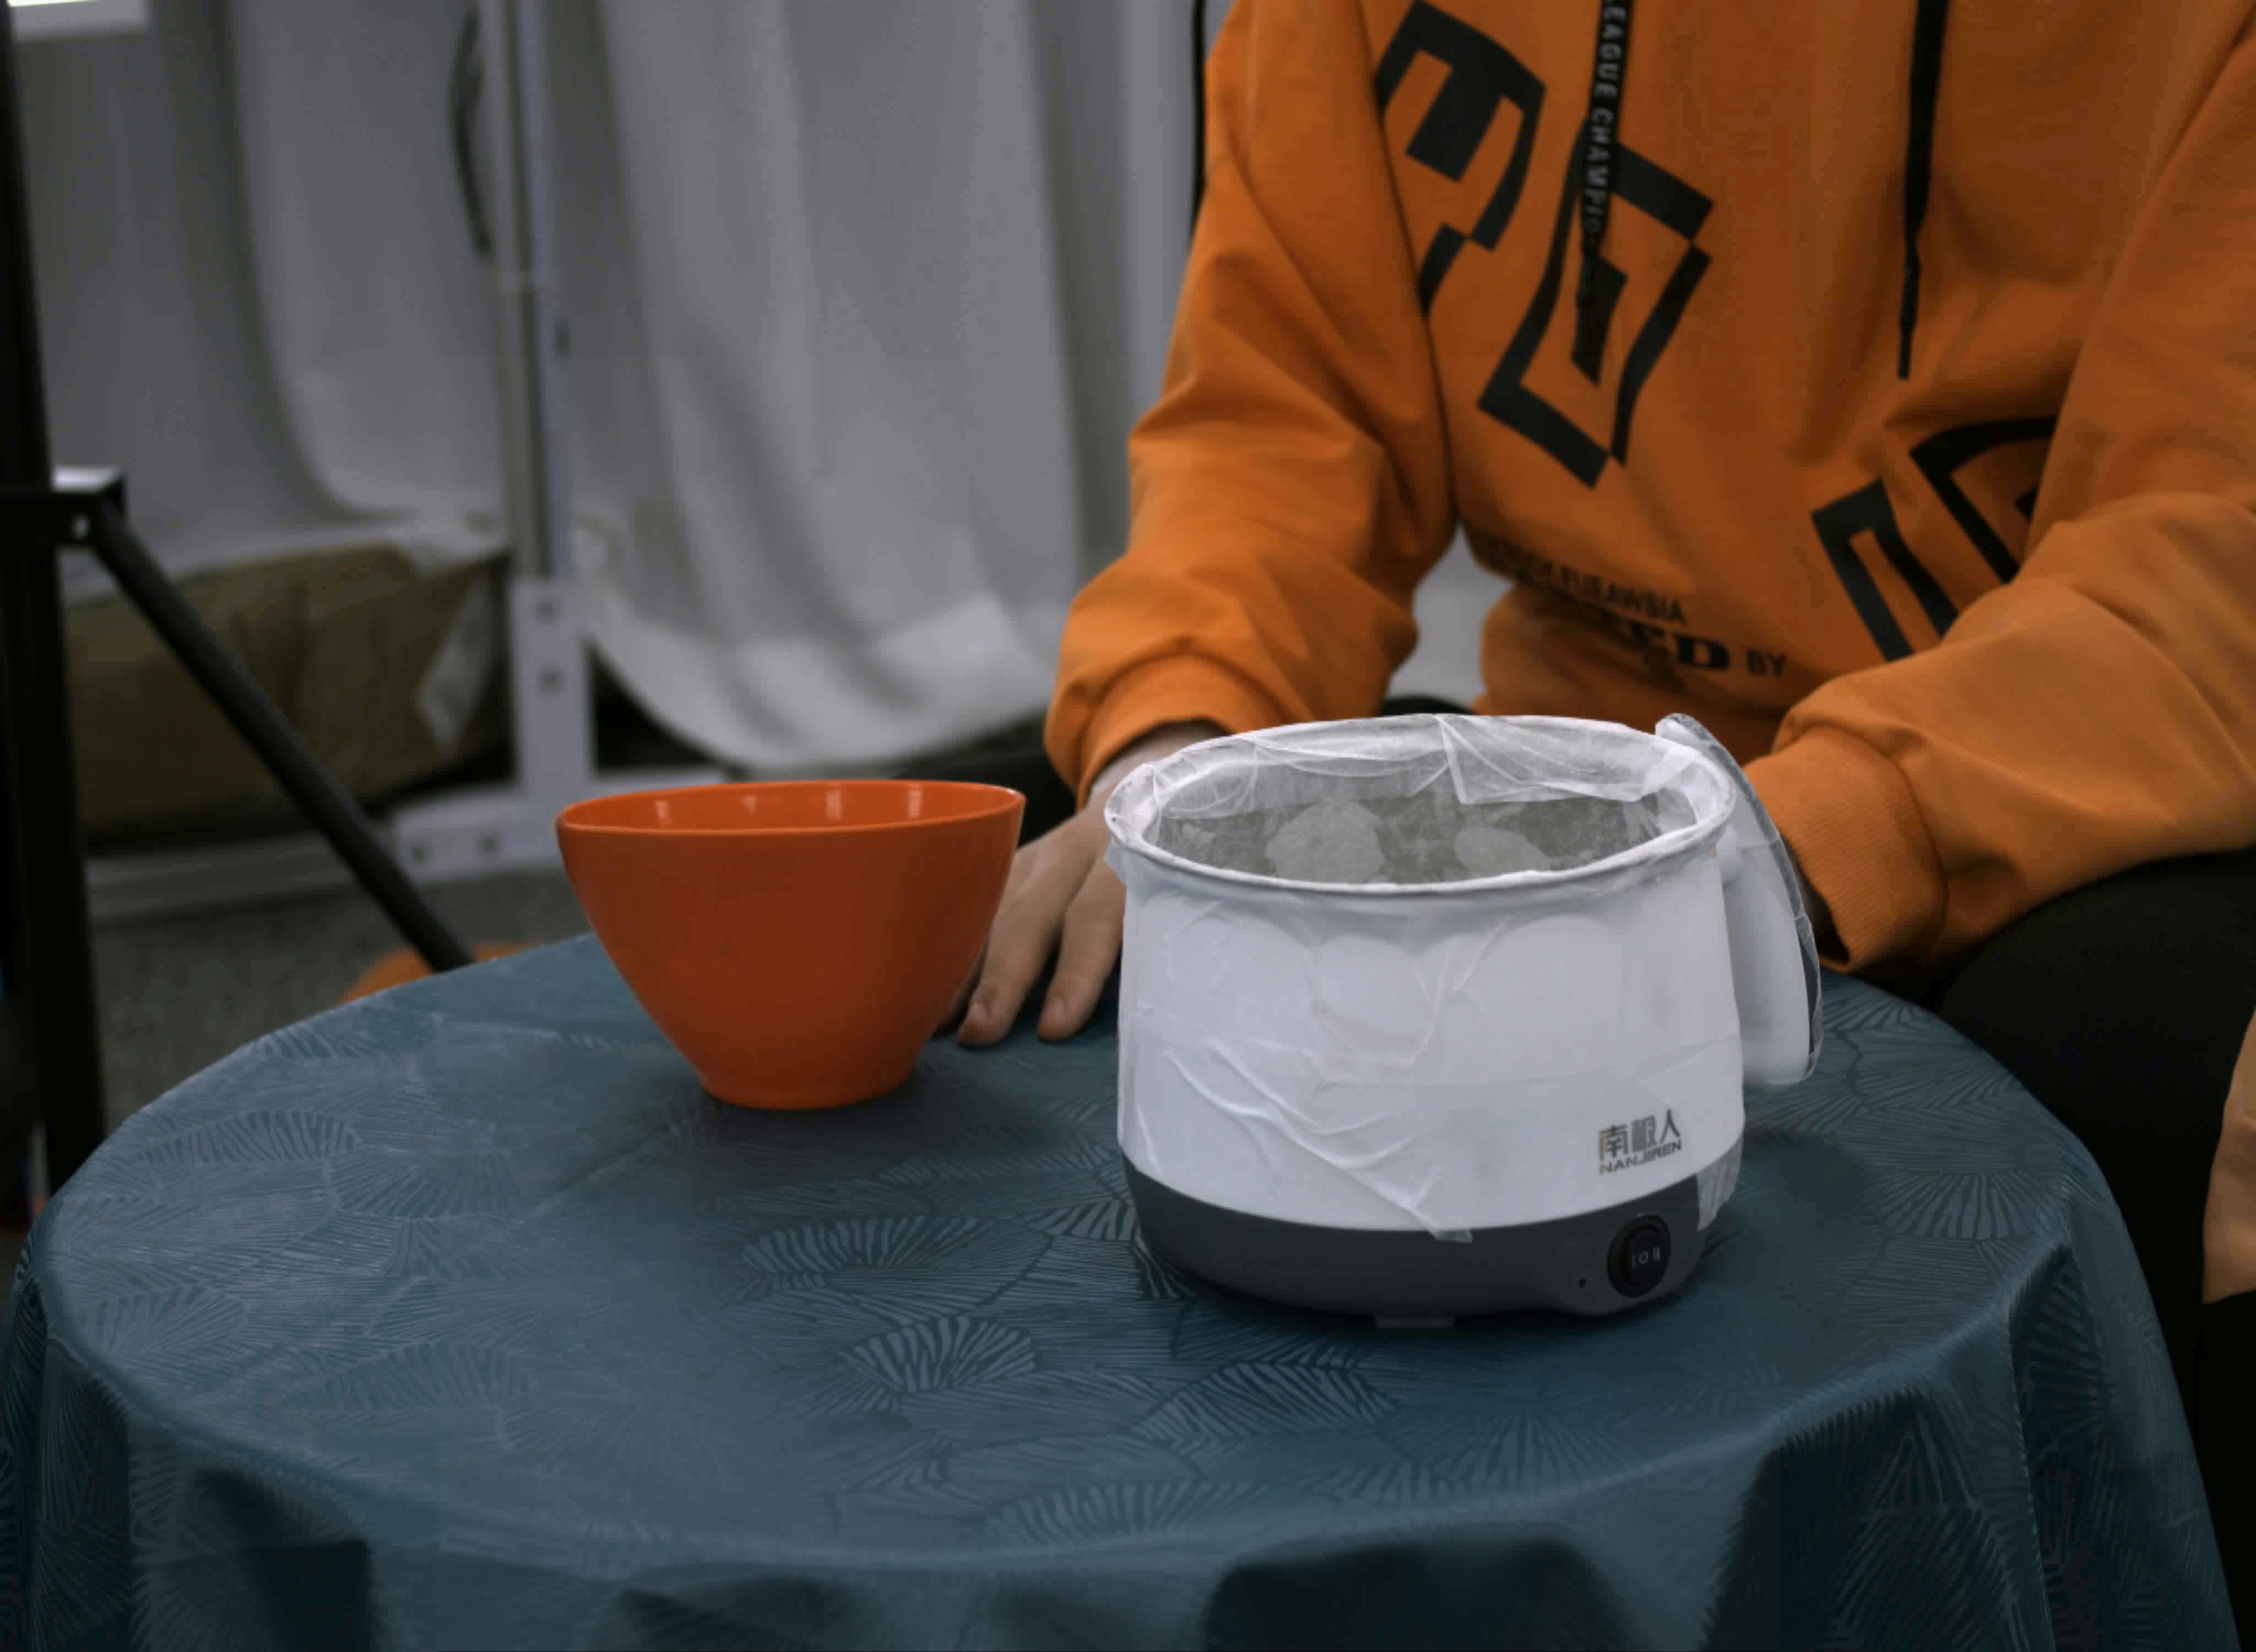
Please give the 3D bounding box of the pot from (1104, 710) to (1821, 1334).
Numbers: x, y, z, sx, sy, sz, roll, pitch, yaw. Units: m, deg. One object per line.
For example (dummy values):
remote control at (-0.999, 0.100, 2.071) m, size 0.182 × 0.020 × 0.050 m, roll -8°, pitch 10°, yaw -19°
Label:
pot at (0.105, 0.047, 1.503) m, size 0.228 × 0.136 × 0.183 m, roll -15°, pitch 20°, yaw -36°

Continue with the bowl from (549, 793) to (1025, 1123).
bowl at (-0.104, 0.037, 1.654) m, size 0.147 × 0.105 × 0.149 m, roll -2°, pitch 14°, yaw -1°
